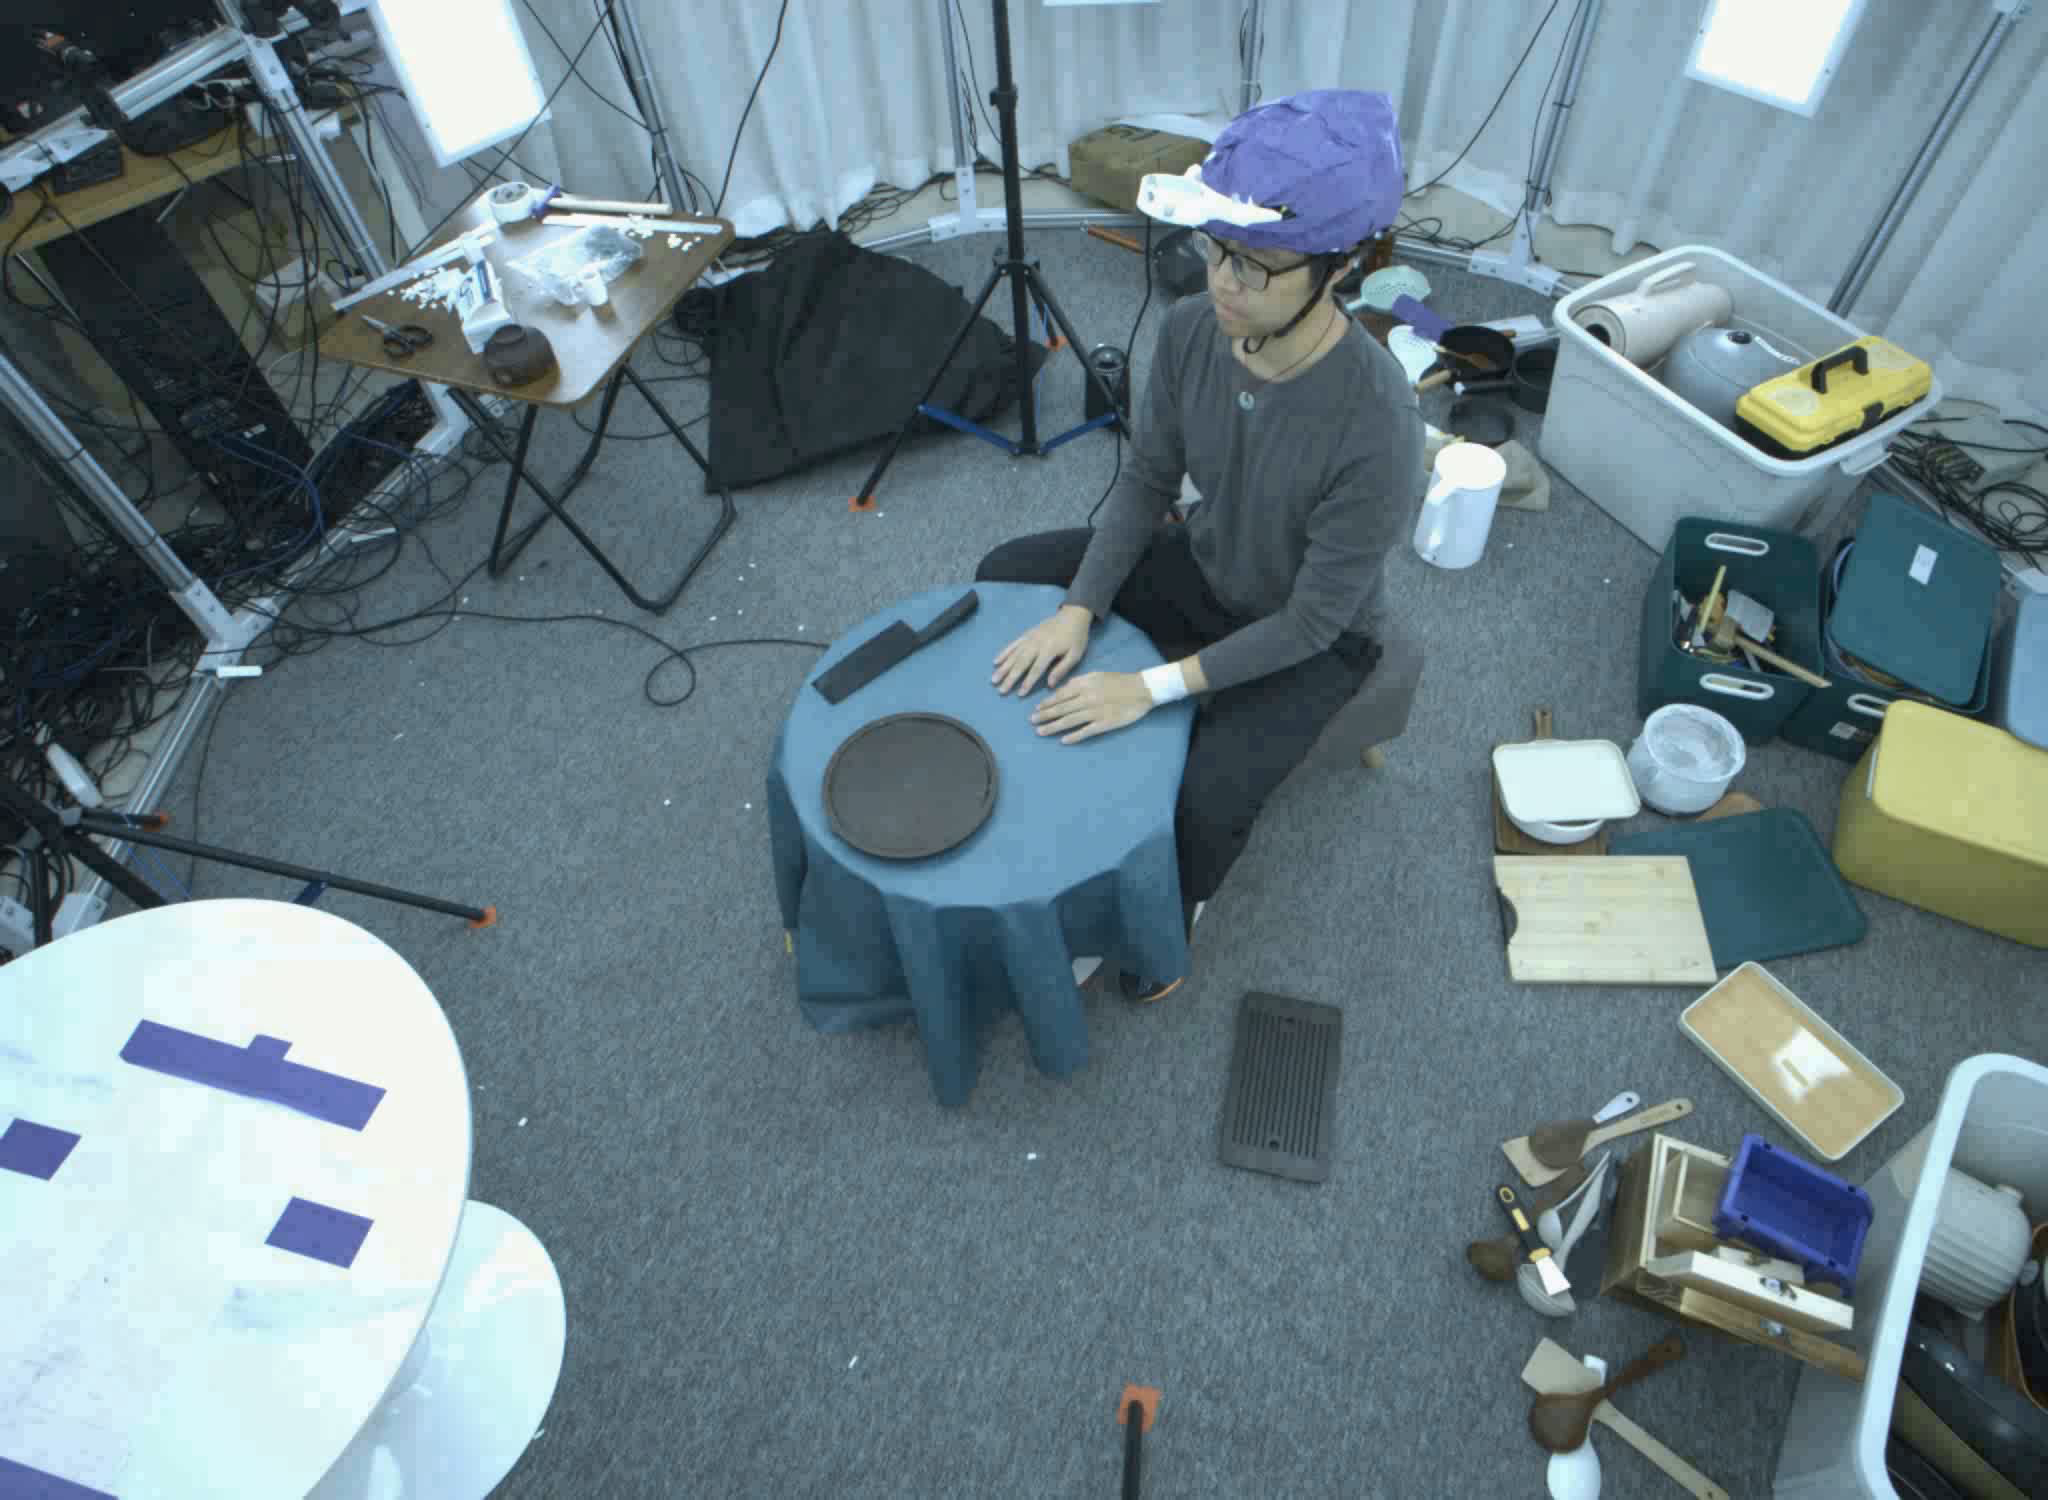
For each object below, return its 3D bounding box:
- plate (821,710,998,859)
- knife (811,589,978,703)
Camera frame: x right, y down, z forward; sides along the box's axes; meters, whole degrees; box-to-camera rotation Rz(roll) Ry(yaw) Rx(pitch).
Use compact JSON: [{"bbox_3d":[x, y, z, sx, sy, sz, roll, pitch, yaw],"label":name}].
[{"bbox_3d":[-0.163,0.047,1.751,0.254,0.029,0.252,-1,54,2],"label":"plate"},{"bbox_3d":[-0.196,-0.170,1.913,0.304,0.021,0.079,-33,59,-18],"label":"knife"}]
